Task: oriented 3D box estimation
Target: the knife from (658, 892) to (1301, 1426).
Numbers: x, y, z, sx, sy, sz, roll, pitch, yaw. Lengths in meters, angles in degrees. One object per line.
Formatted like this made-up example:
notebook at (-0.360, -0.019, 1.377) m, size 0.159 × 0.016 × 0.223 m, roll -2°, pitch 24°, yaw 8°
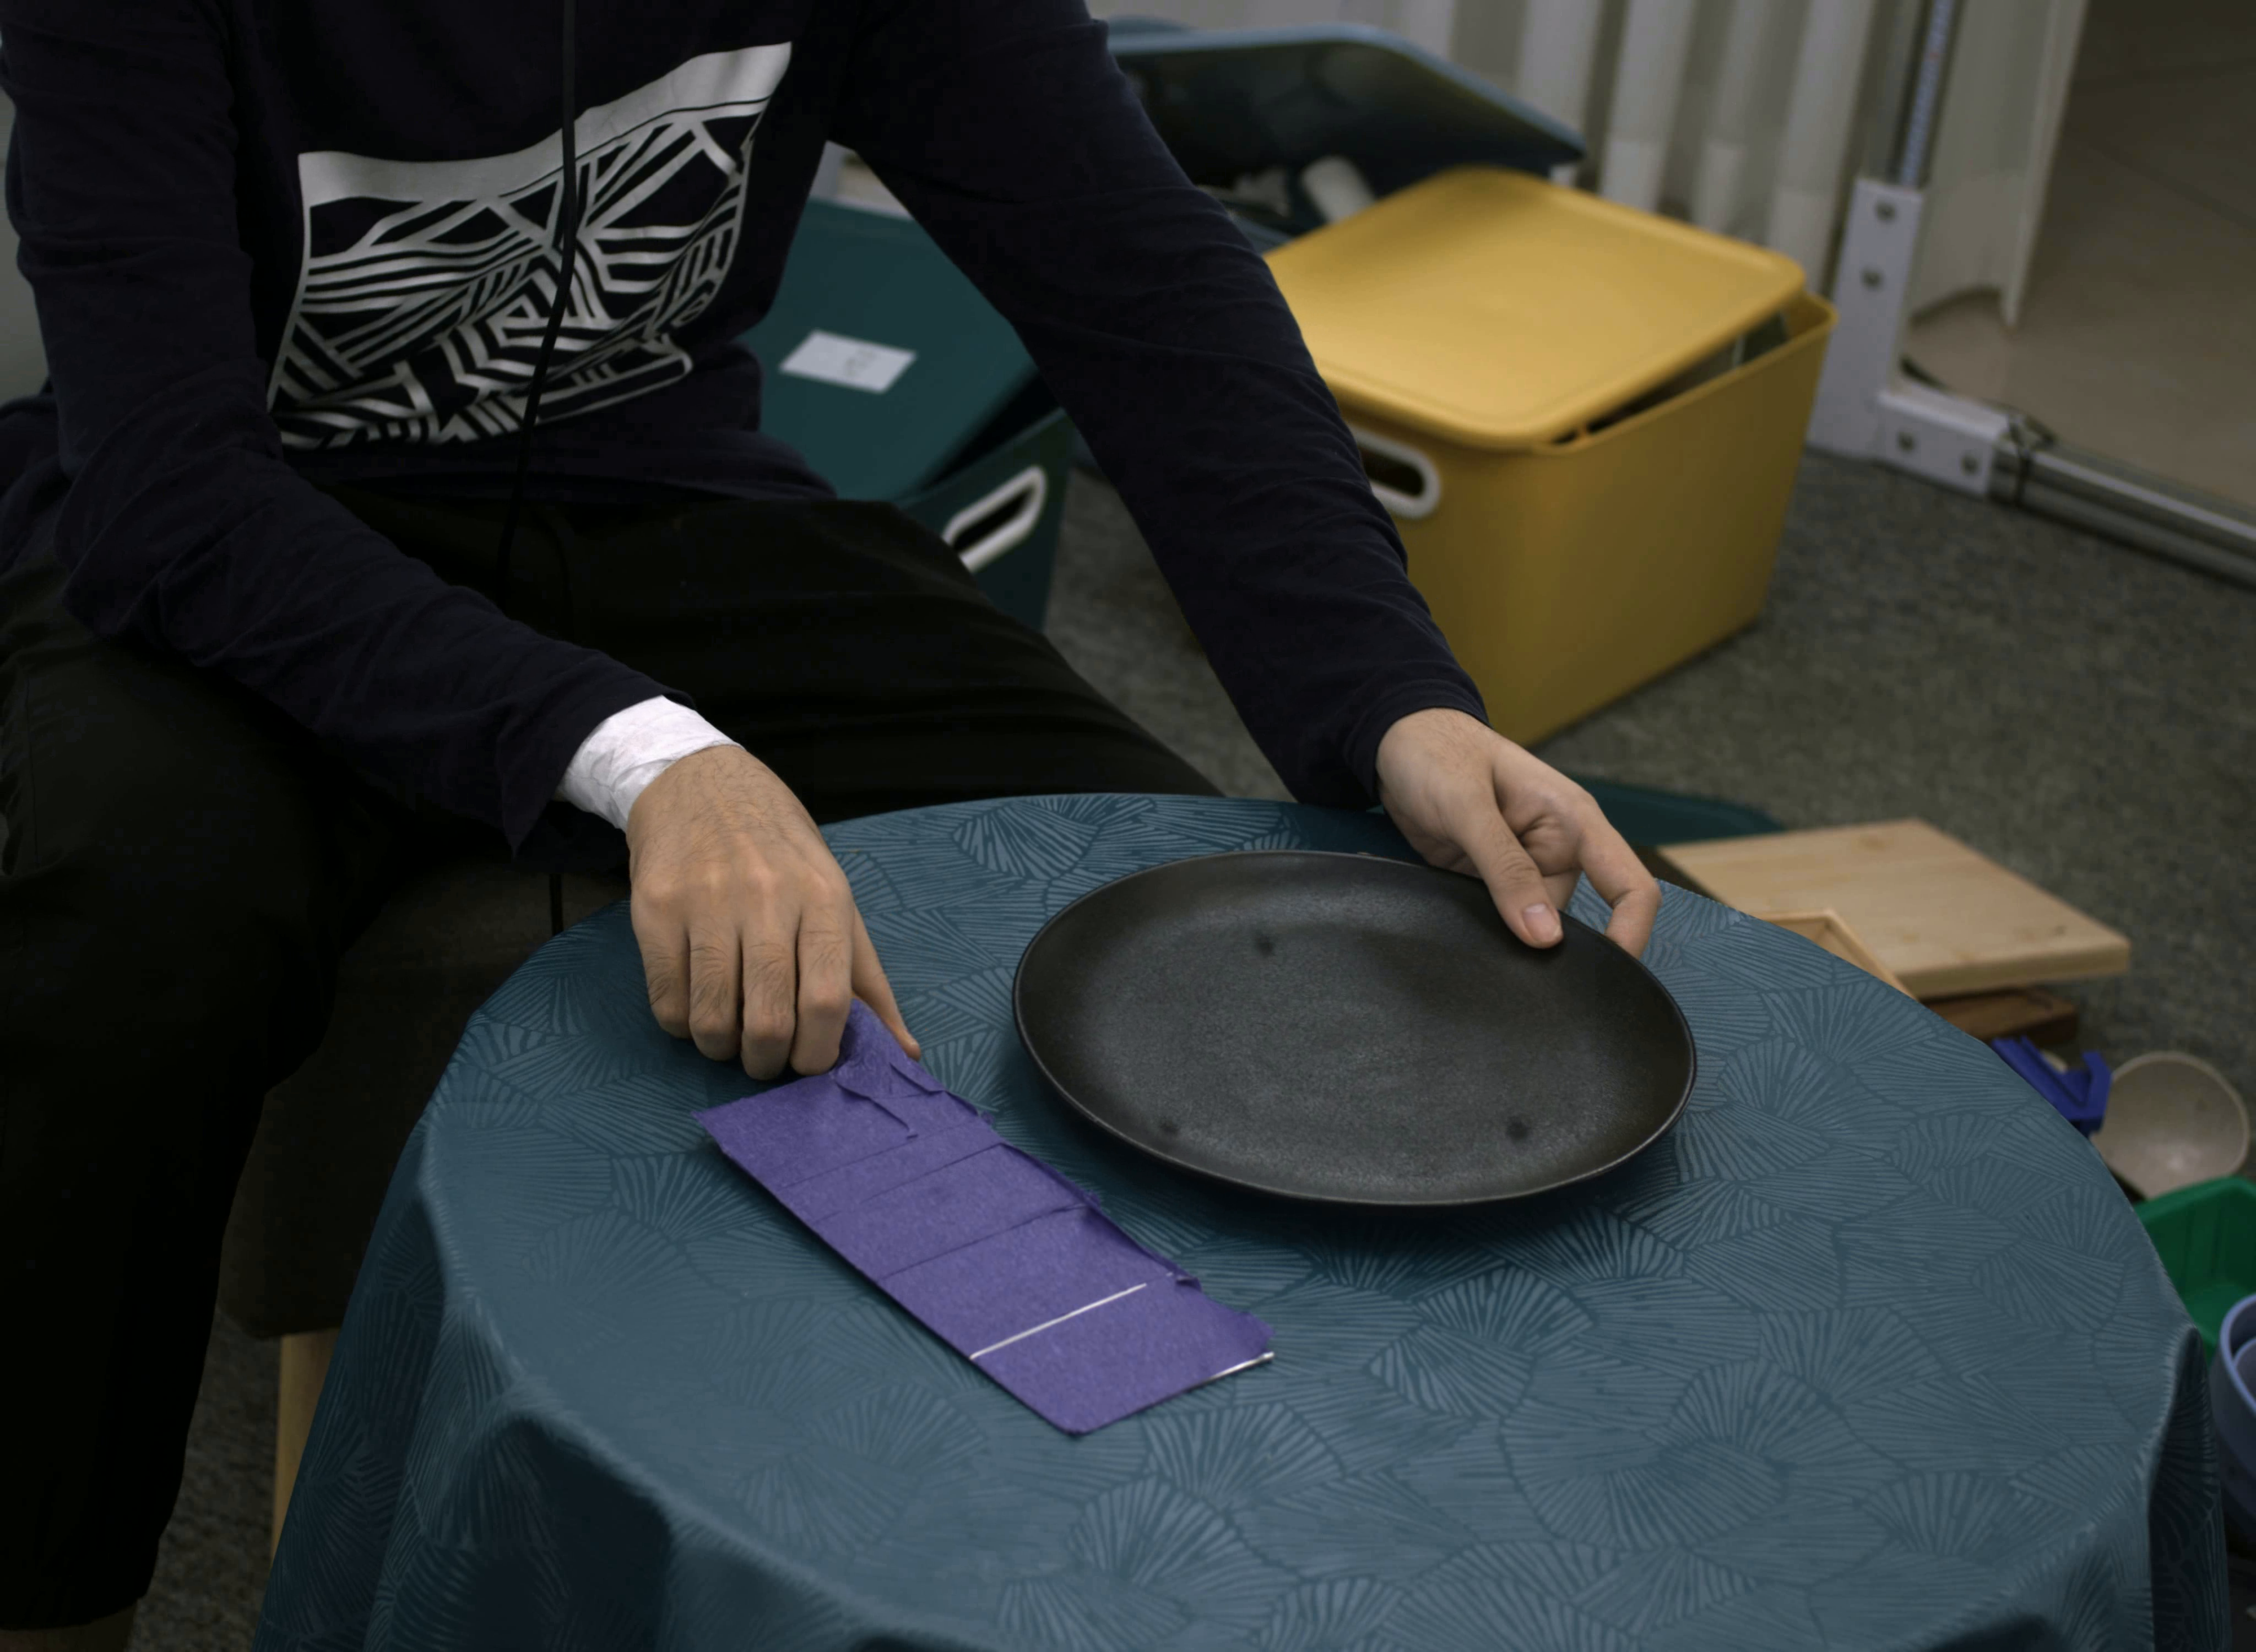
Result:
knife at (-0.080, 0.108, 1.790) m, size 0.103 × 0.032 × 0.318 m, roll -16°, pitch 35°, yaw -38°

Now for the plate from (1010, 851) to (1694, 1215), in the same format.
plate at (0.078, 0.077, 1.884) m, size 0.243 × 0.023 × 0.246 m, roll 4°, pitch 29°, yaw -2°
